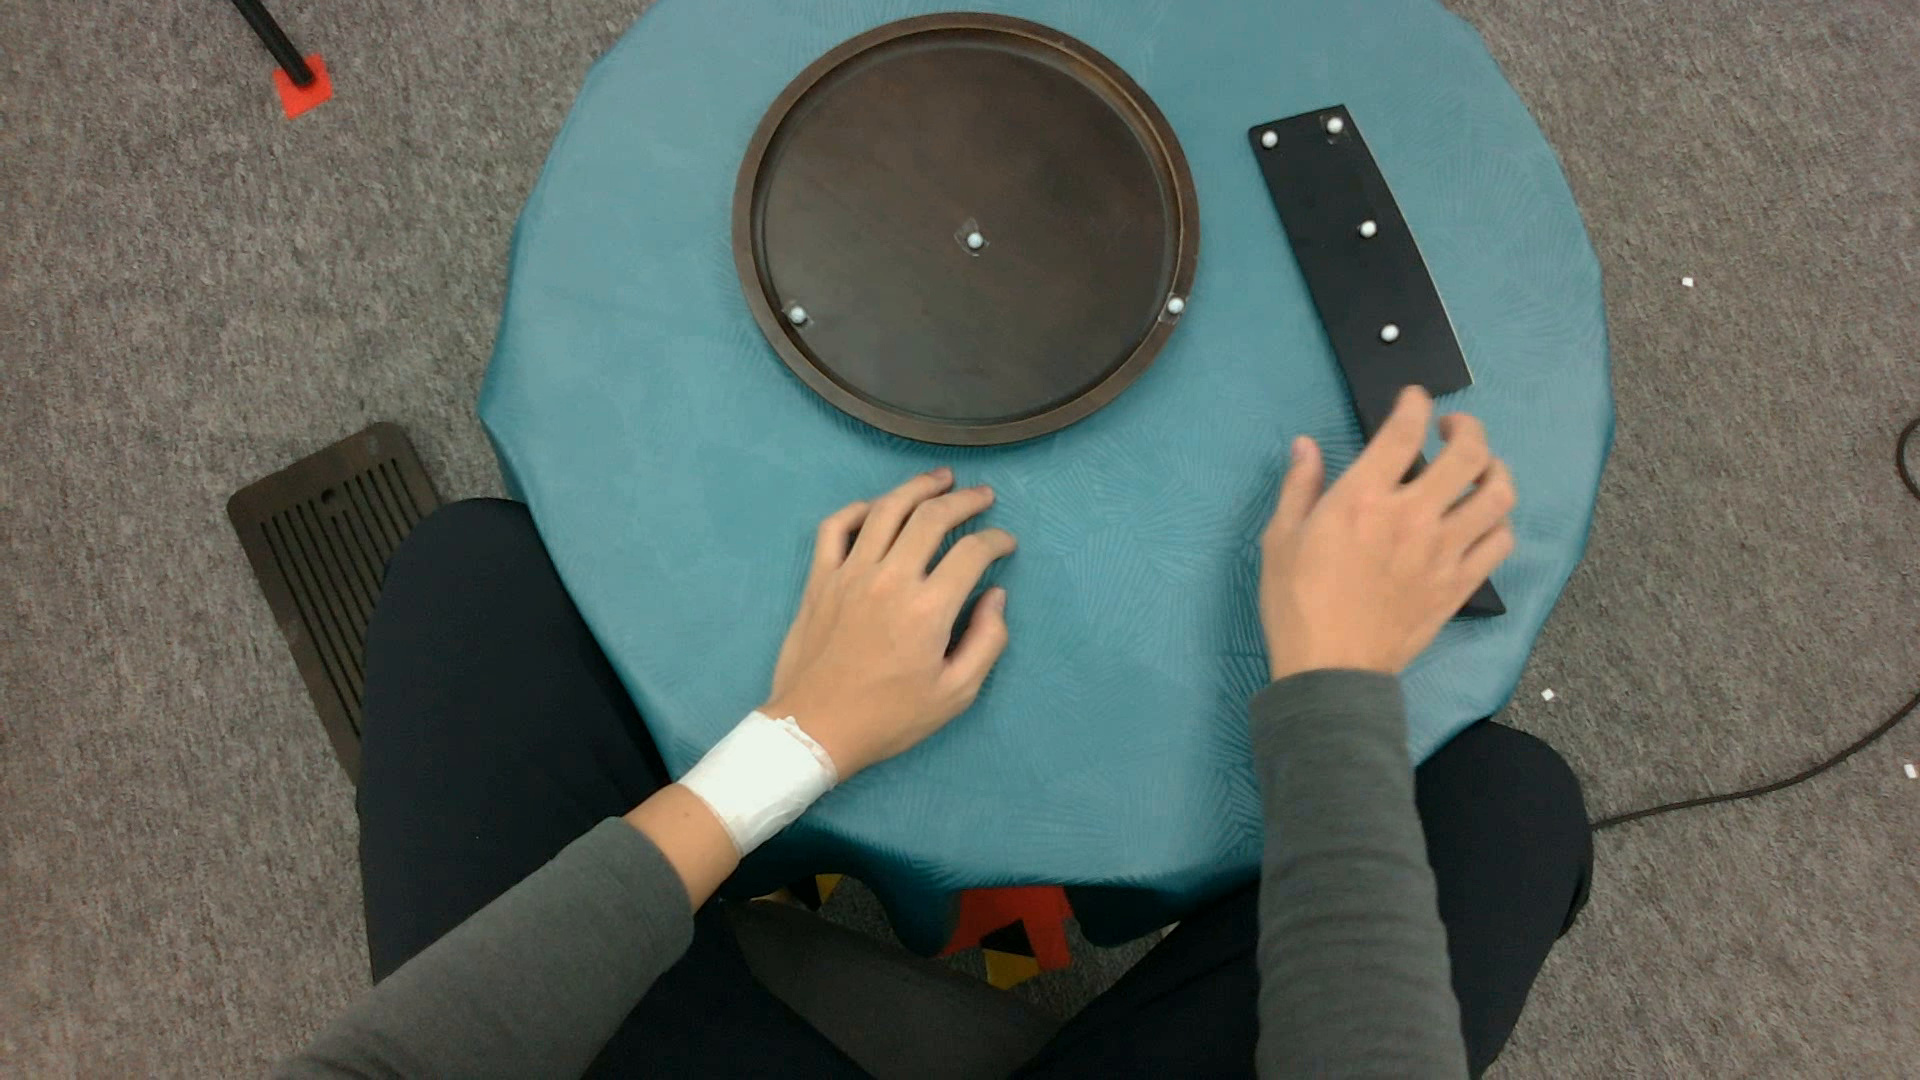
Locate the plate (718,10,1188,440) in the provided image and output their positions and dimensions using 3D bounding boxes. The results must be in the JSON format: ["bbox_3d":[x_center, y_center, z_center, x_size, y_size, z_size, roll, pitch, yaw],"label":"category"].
[{"bbox_3d":[-0.004,-0.173,0.749,0.255,0.029,0.255,1,76,-3],"label":"plate"}]

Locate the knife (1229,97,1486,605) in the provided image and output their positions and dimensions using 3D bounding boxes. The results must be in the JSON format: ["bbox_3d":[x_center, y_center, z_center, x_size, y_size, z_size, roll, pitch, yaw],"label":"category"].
[{"bbox_3d":[0.223,-0.108,0.747,0.081,0.021,0.303,-12,75,-6],"label":"knife"}]
